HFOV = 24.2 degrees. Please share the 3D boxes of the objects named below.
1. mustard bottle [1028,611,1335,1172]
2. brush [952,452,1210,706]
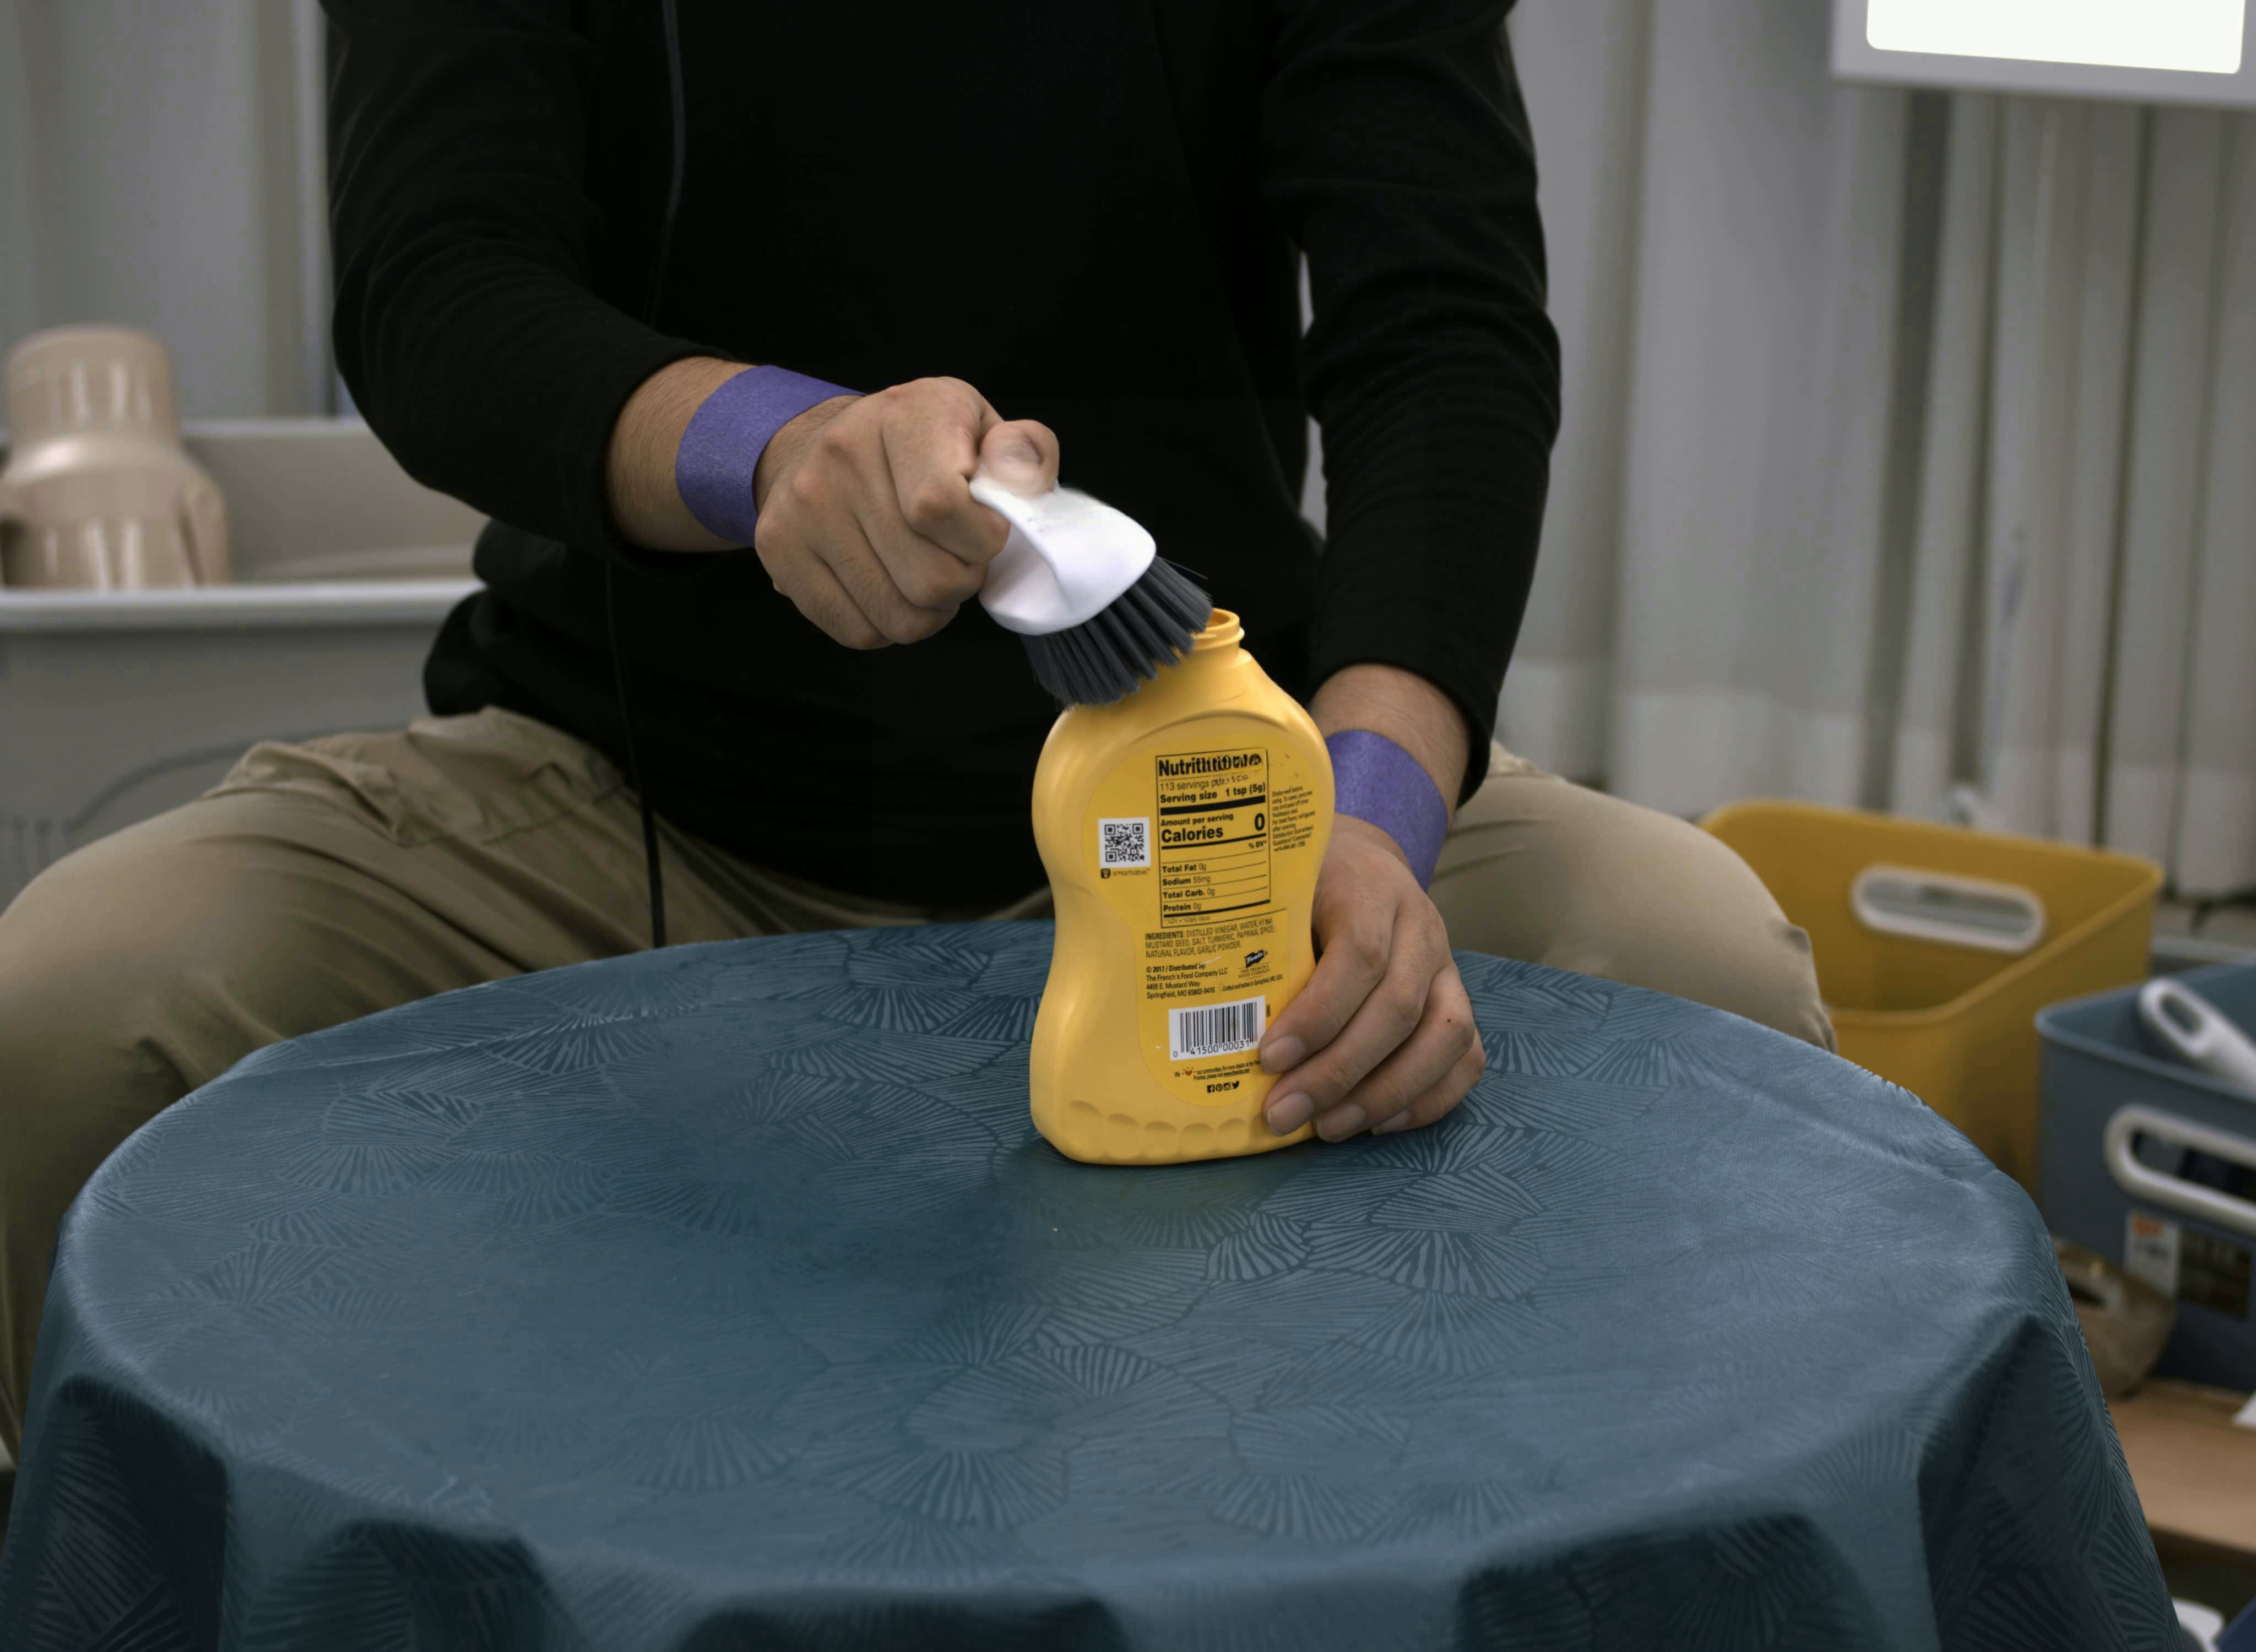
[{"bbox_3d":[0.015,0.019,1.644,0.098,0.173,0.058,-8,14,-22],"label":"mustard bottle"},{"bbox_3d":[-0.022,-0.082,1.599,0.050,0.073,0.098,-41,17,-6],"label":"brush"}]
